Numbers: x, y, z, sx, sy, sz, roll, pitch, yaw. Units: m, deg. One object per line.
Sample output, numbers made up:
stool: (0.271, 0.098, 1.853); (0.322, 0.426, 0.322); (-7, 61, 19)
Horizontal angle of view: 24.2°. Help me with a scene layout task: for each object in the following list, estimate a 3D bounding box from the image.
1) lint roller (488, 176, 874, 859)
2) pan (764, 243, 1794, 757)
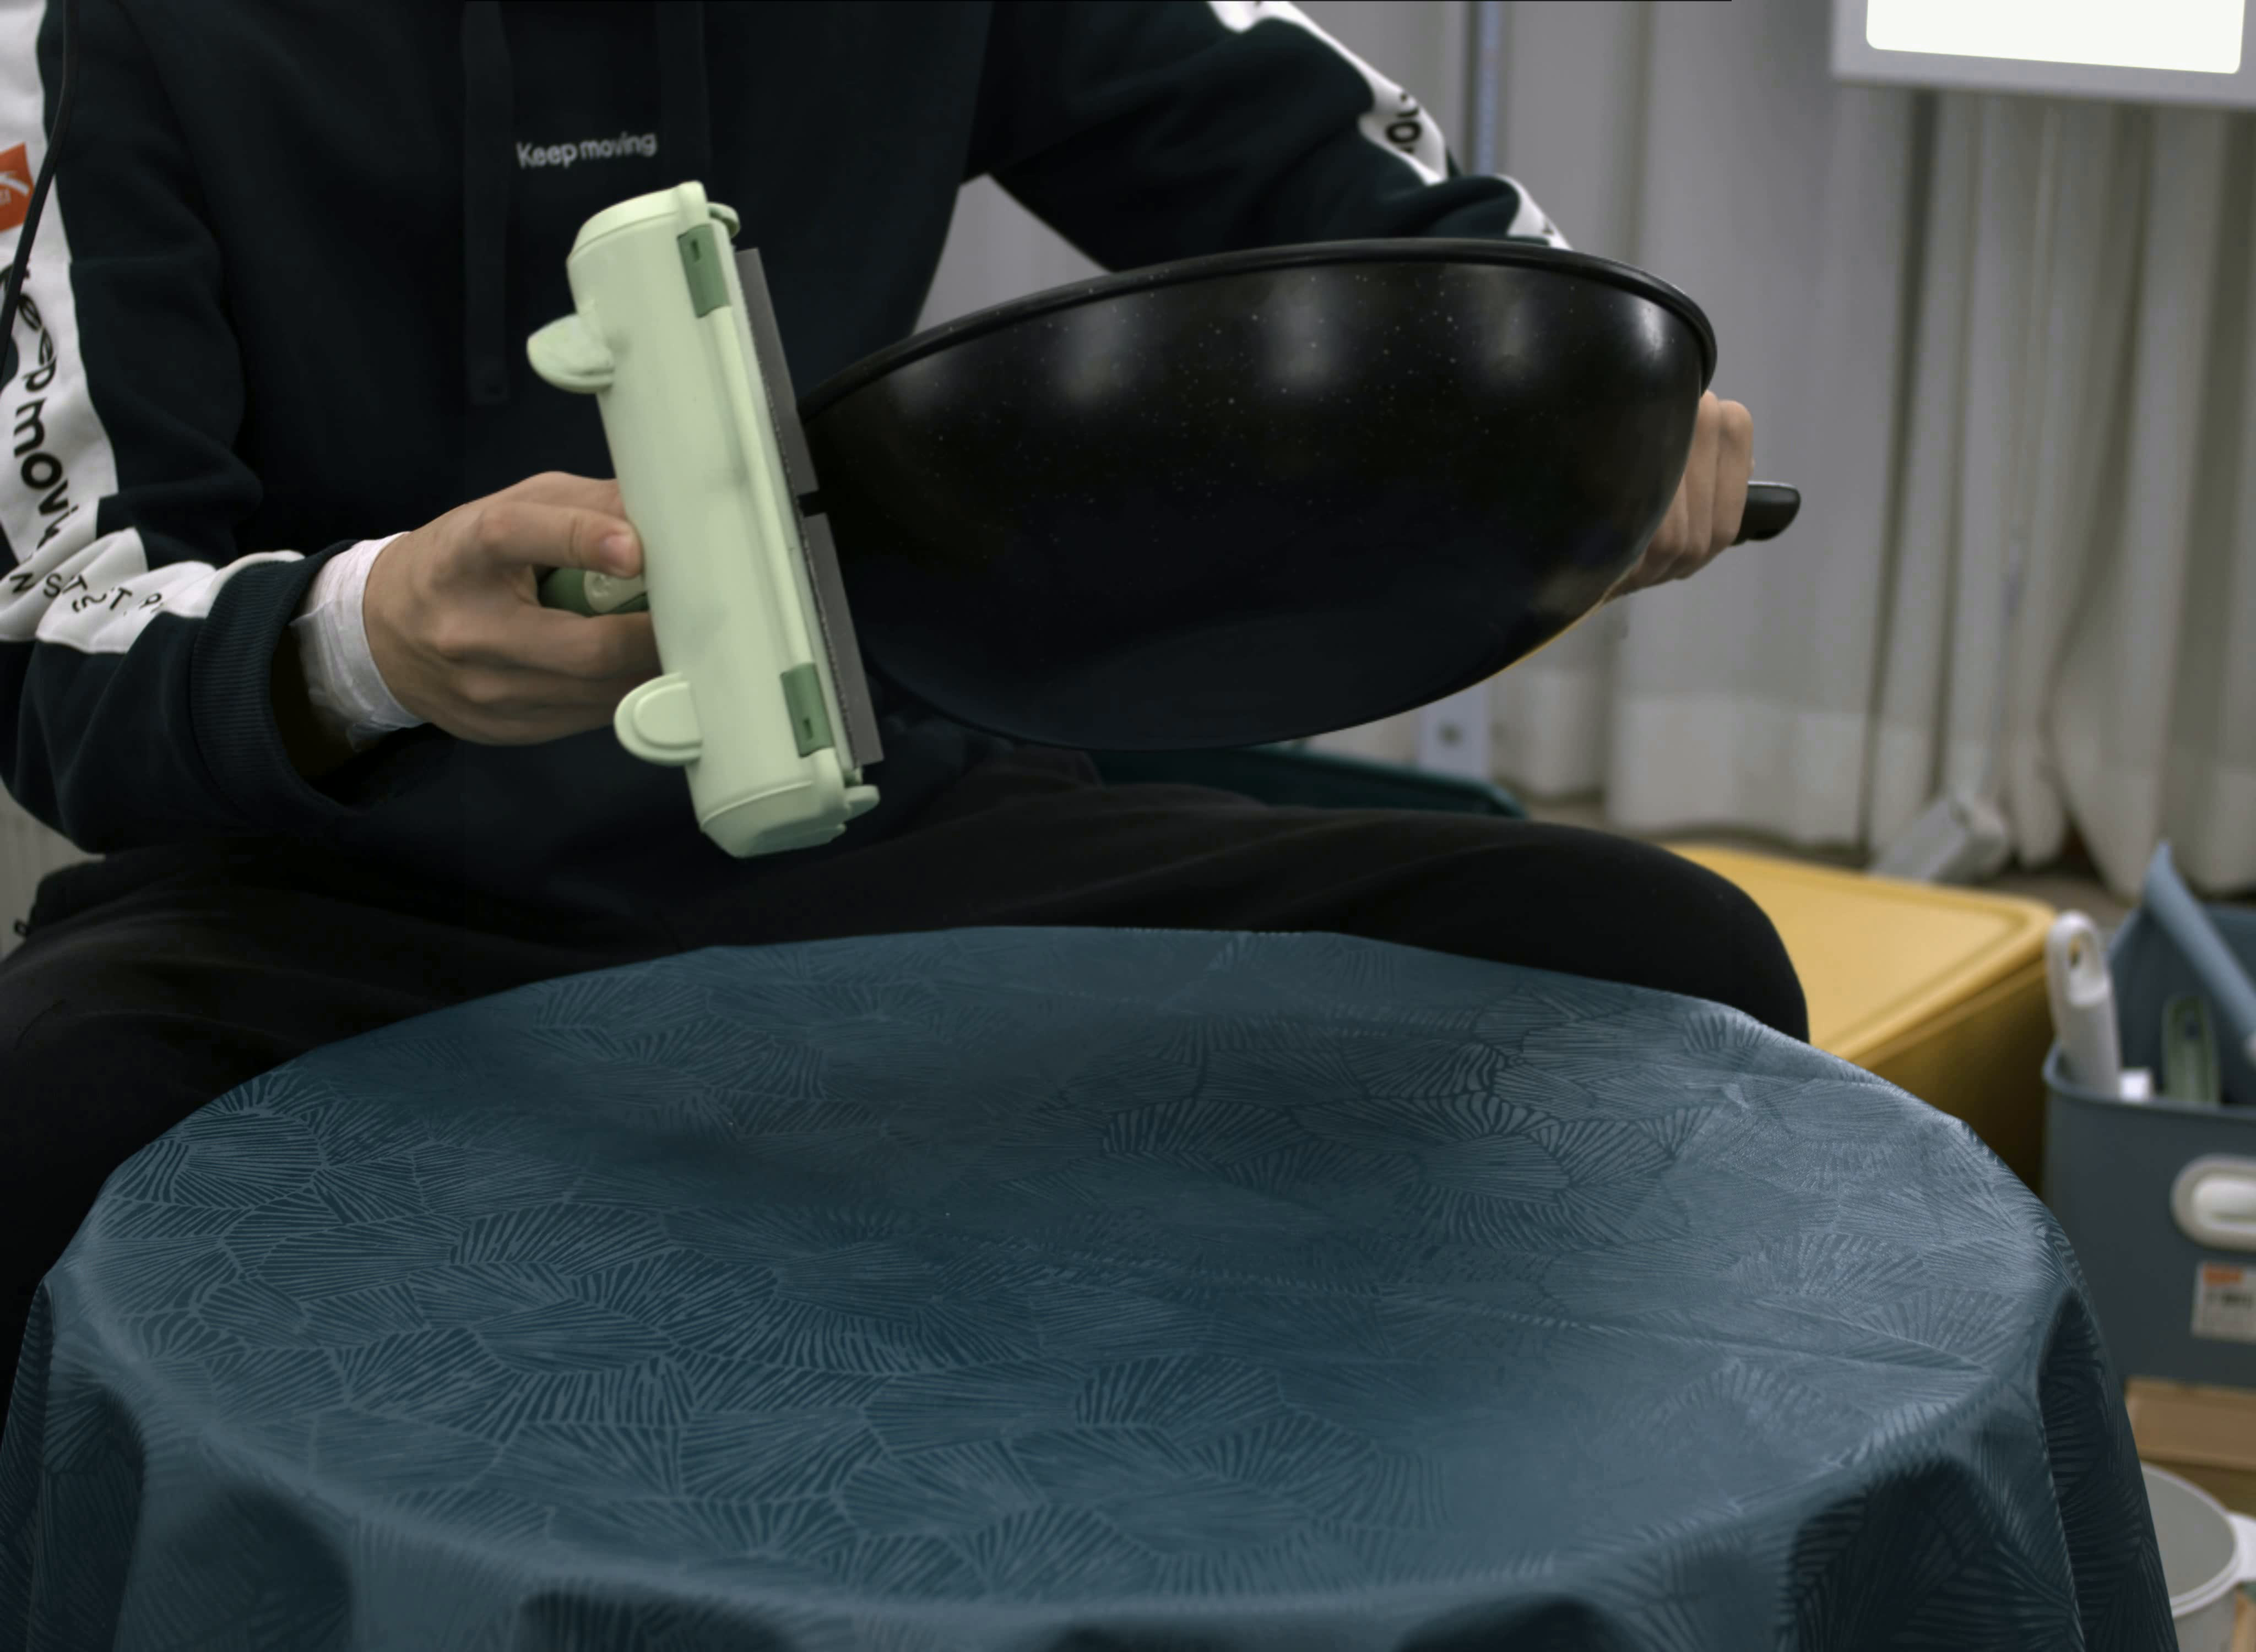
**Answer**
lint roller: (-0.162, -0.074, 1.585); (0.083, 0.198, 0.182); (-7, -11, -44)
pan: (0.085, -0.087, 1.695); (0.308, 0.111, 0.481); (-18, -17, 36)
